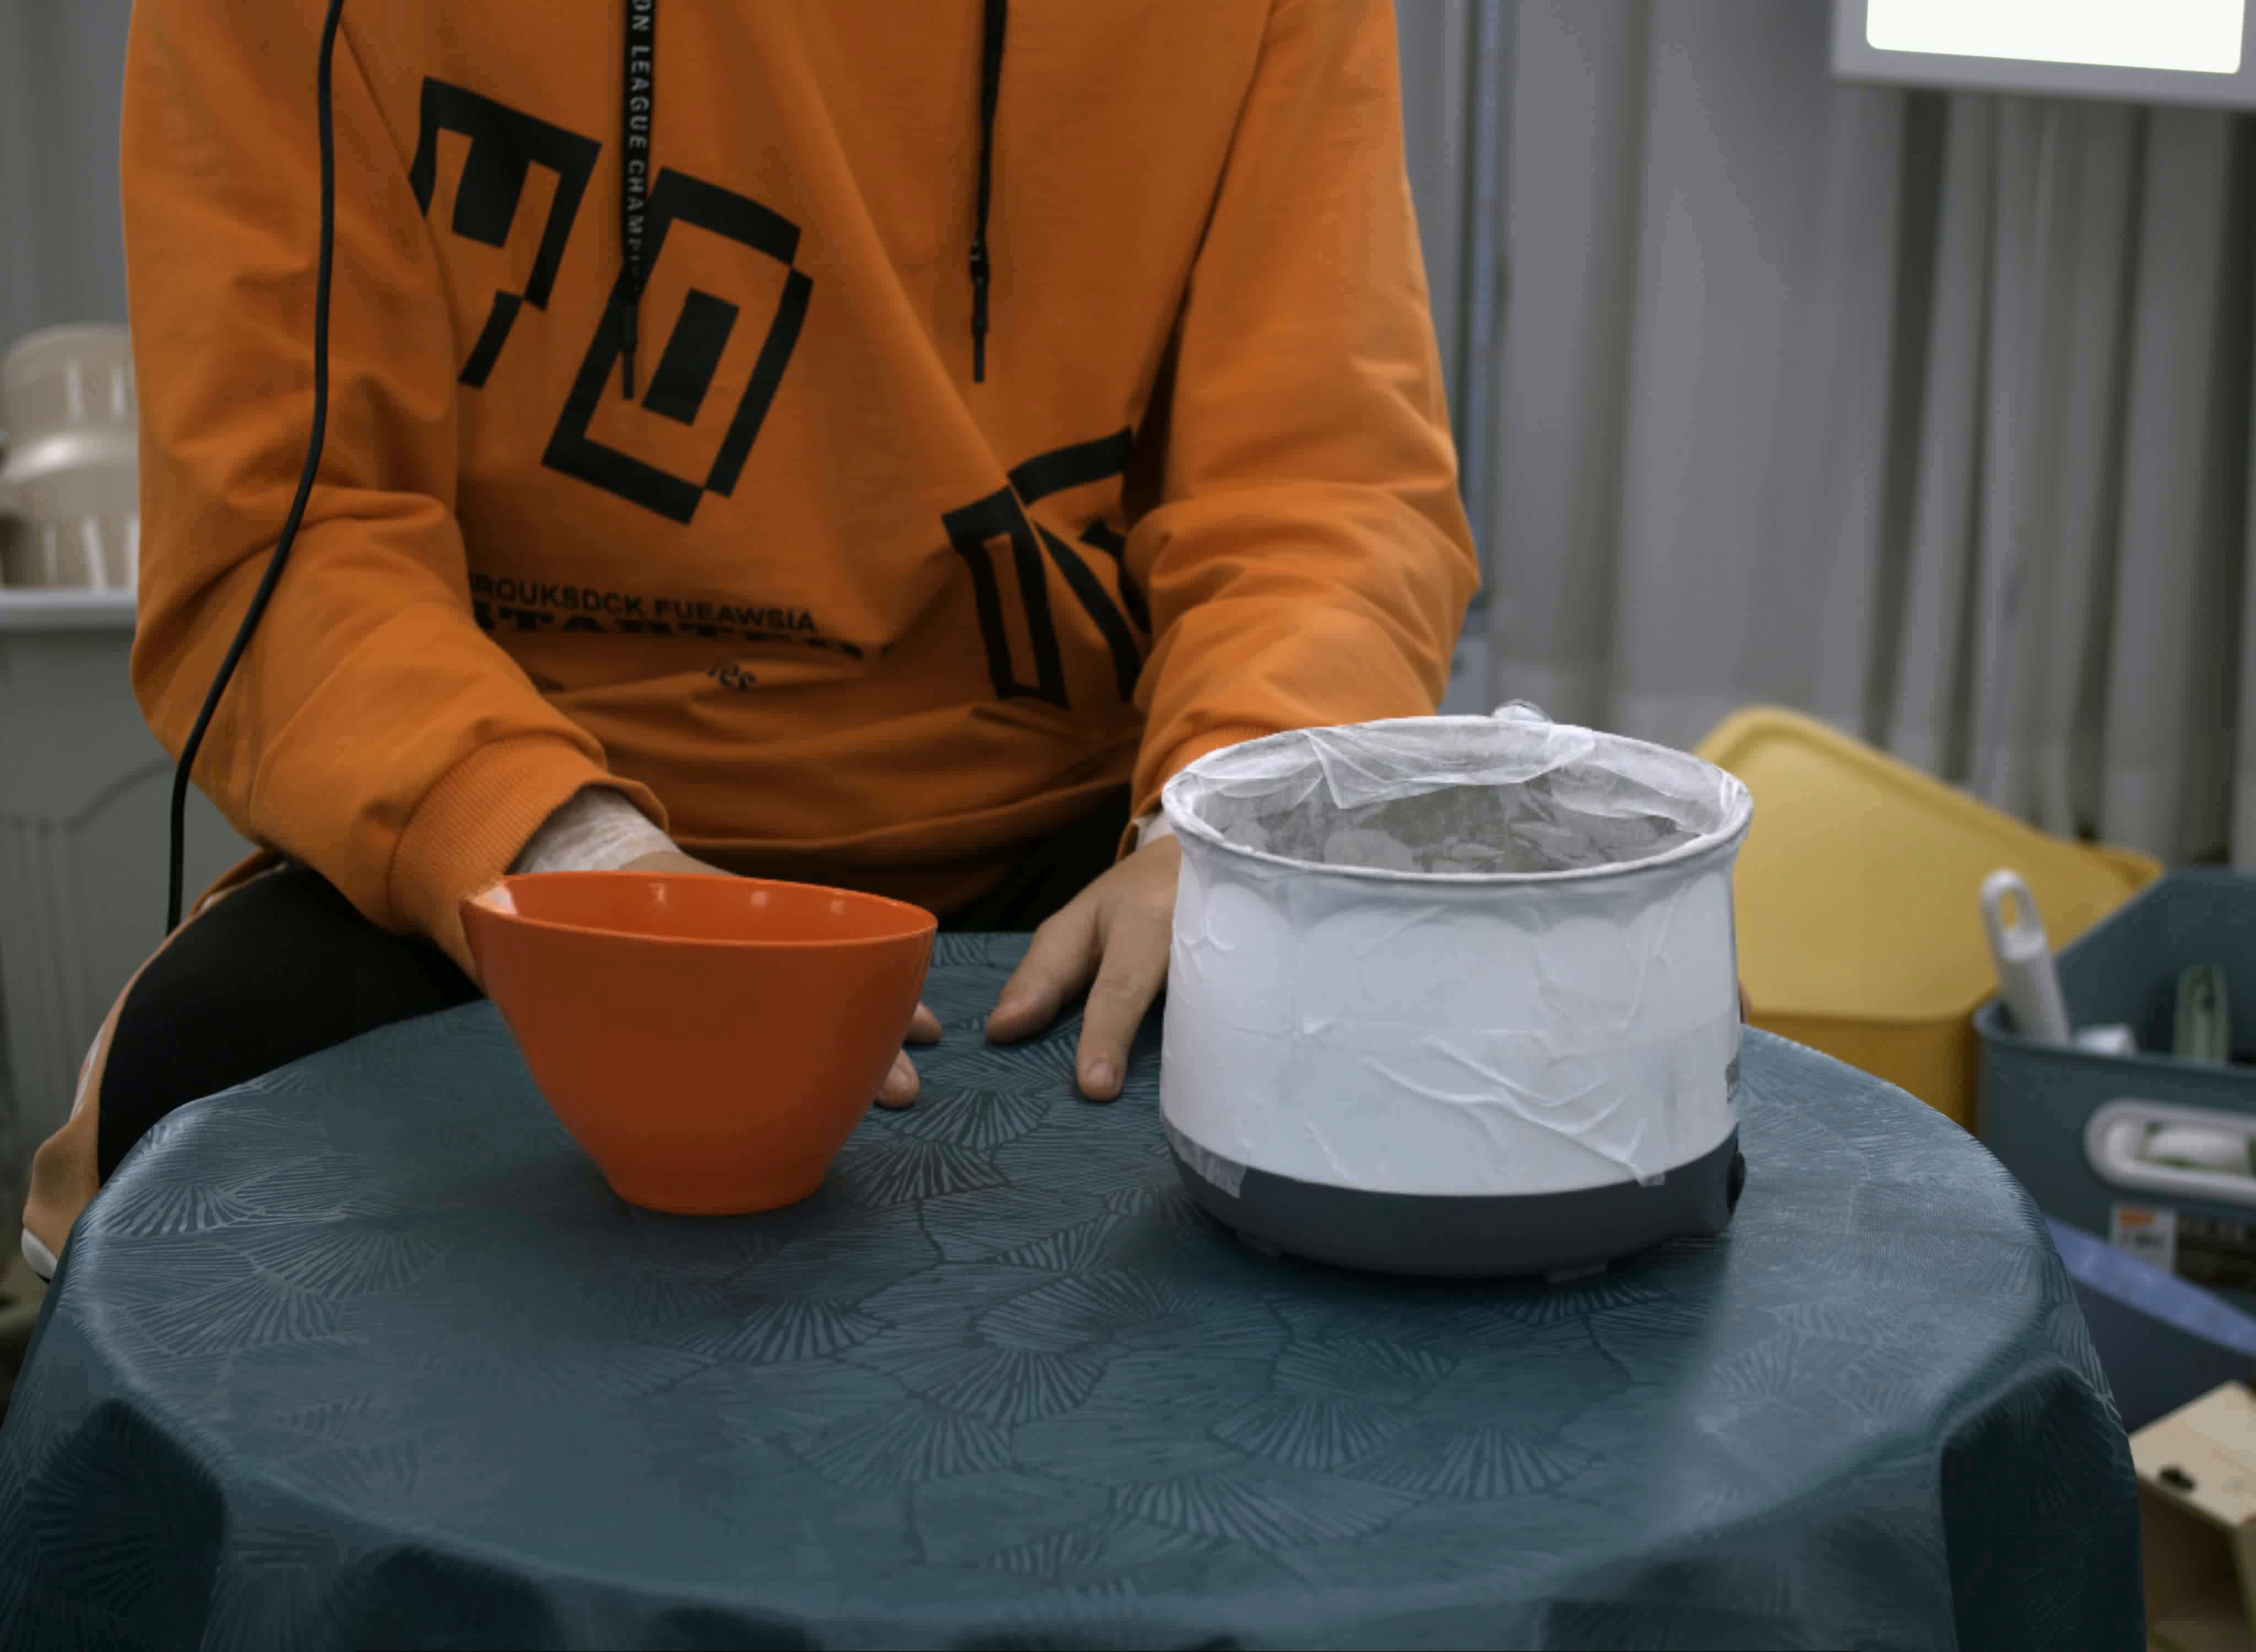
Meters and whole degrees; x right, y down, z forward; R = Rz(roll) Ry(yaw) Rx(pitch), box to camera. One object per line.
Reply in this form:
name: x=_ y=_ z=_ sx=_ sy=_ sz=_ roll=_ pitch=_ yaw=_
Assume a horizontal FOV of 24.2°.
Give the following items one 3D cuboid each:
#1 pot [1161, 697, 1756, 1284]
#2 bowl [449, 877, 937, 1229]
pot: x=0.104 y=0.044 z=1.614 sx=0.177 sy=0.138 sz=0.233 roll=4 pitch=17 yaw=12
bowl: x=-0.132 y=0.066 z=1.605 sx=0.147 sy=0.105 sz=0.147 roll=1 pitch=15 yaw=0
